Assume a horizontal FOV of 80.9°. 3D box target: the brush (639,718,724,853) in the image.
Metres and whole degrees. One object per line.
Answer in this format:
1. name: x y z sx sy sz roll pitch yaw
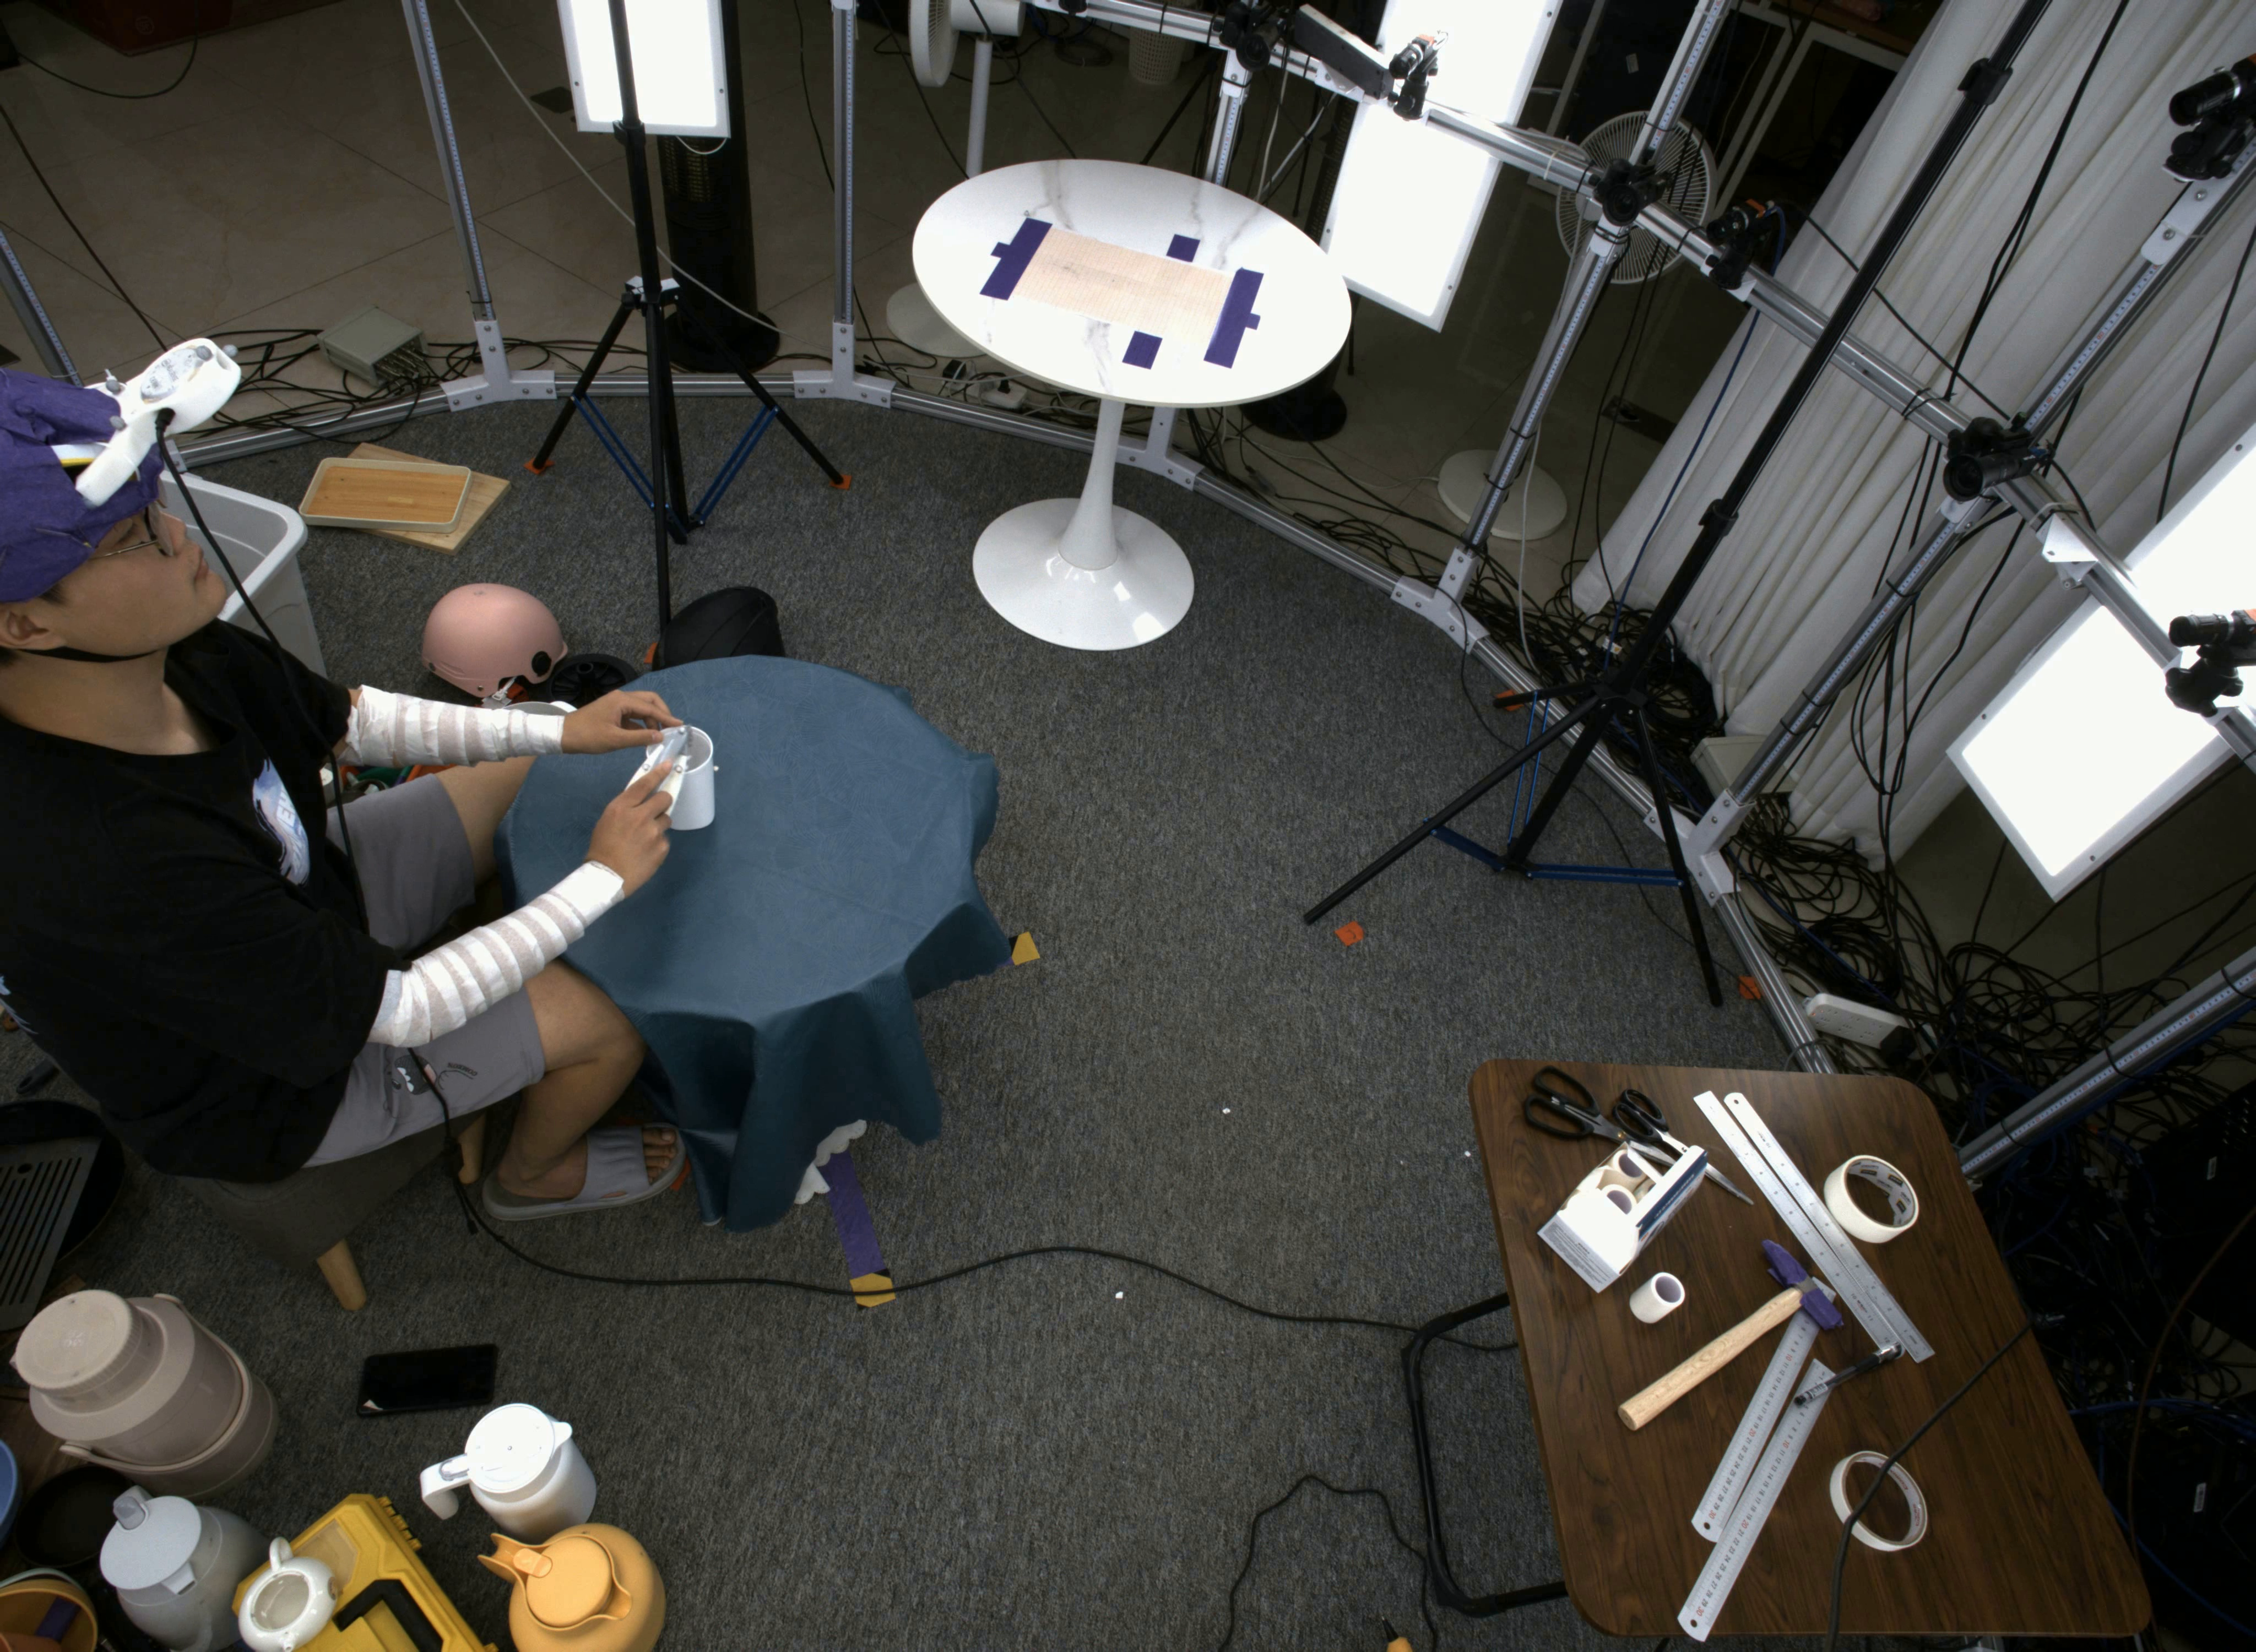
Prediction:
1. brush: -0.535 -0.056 1.561 0.062 0.092 0.176 28 82 -15

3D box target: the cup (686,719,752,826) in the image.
1. cup: -0.528 -0.067 1.678 0.081 0.128 0.080 7 52 -7
